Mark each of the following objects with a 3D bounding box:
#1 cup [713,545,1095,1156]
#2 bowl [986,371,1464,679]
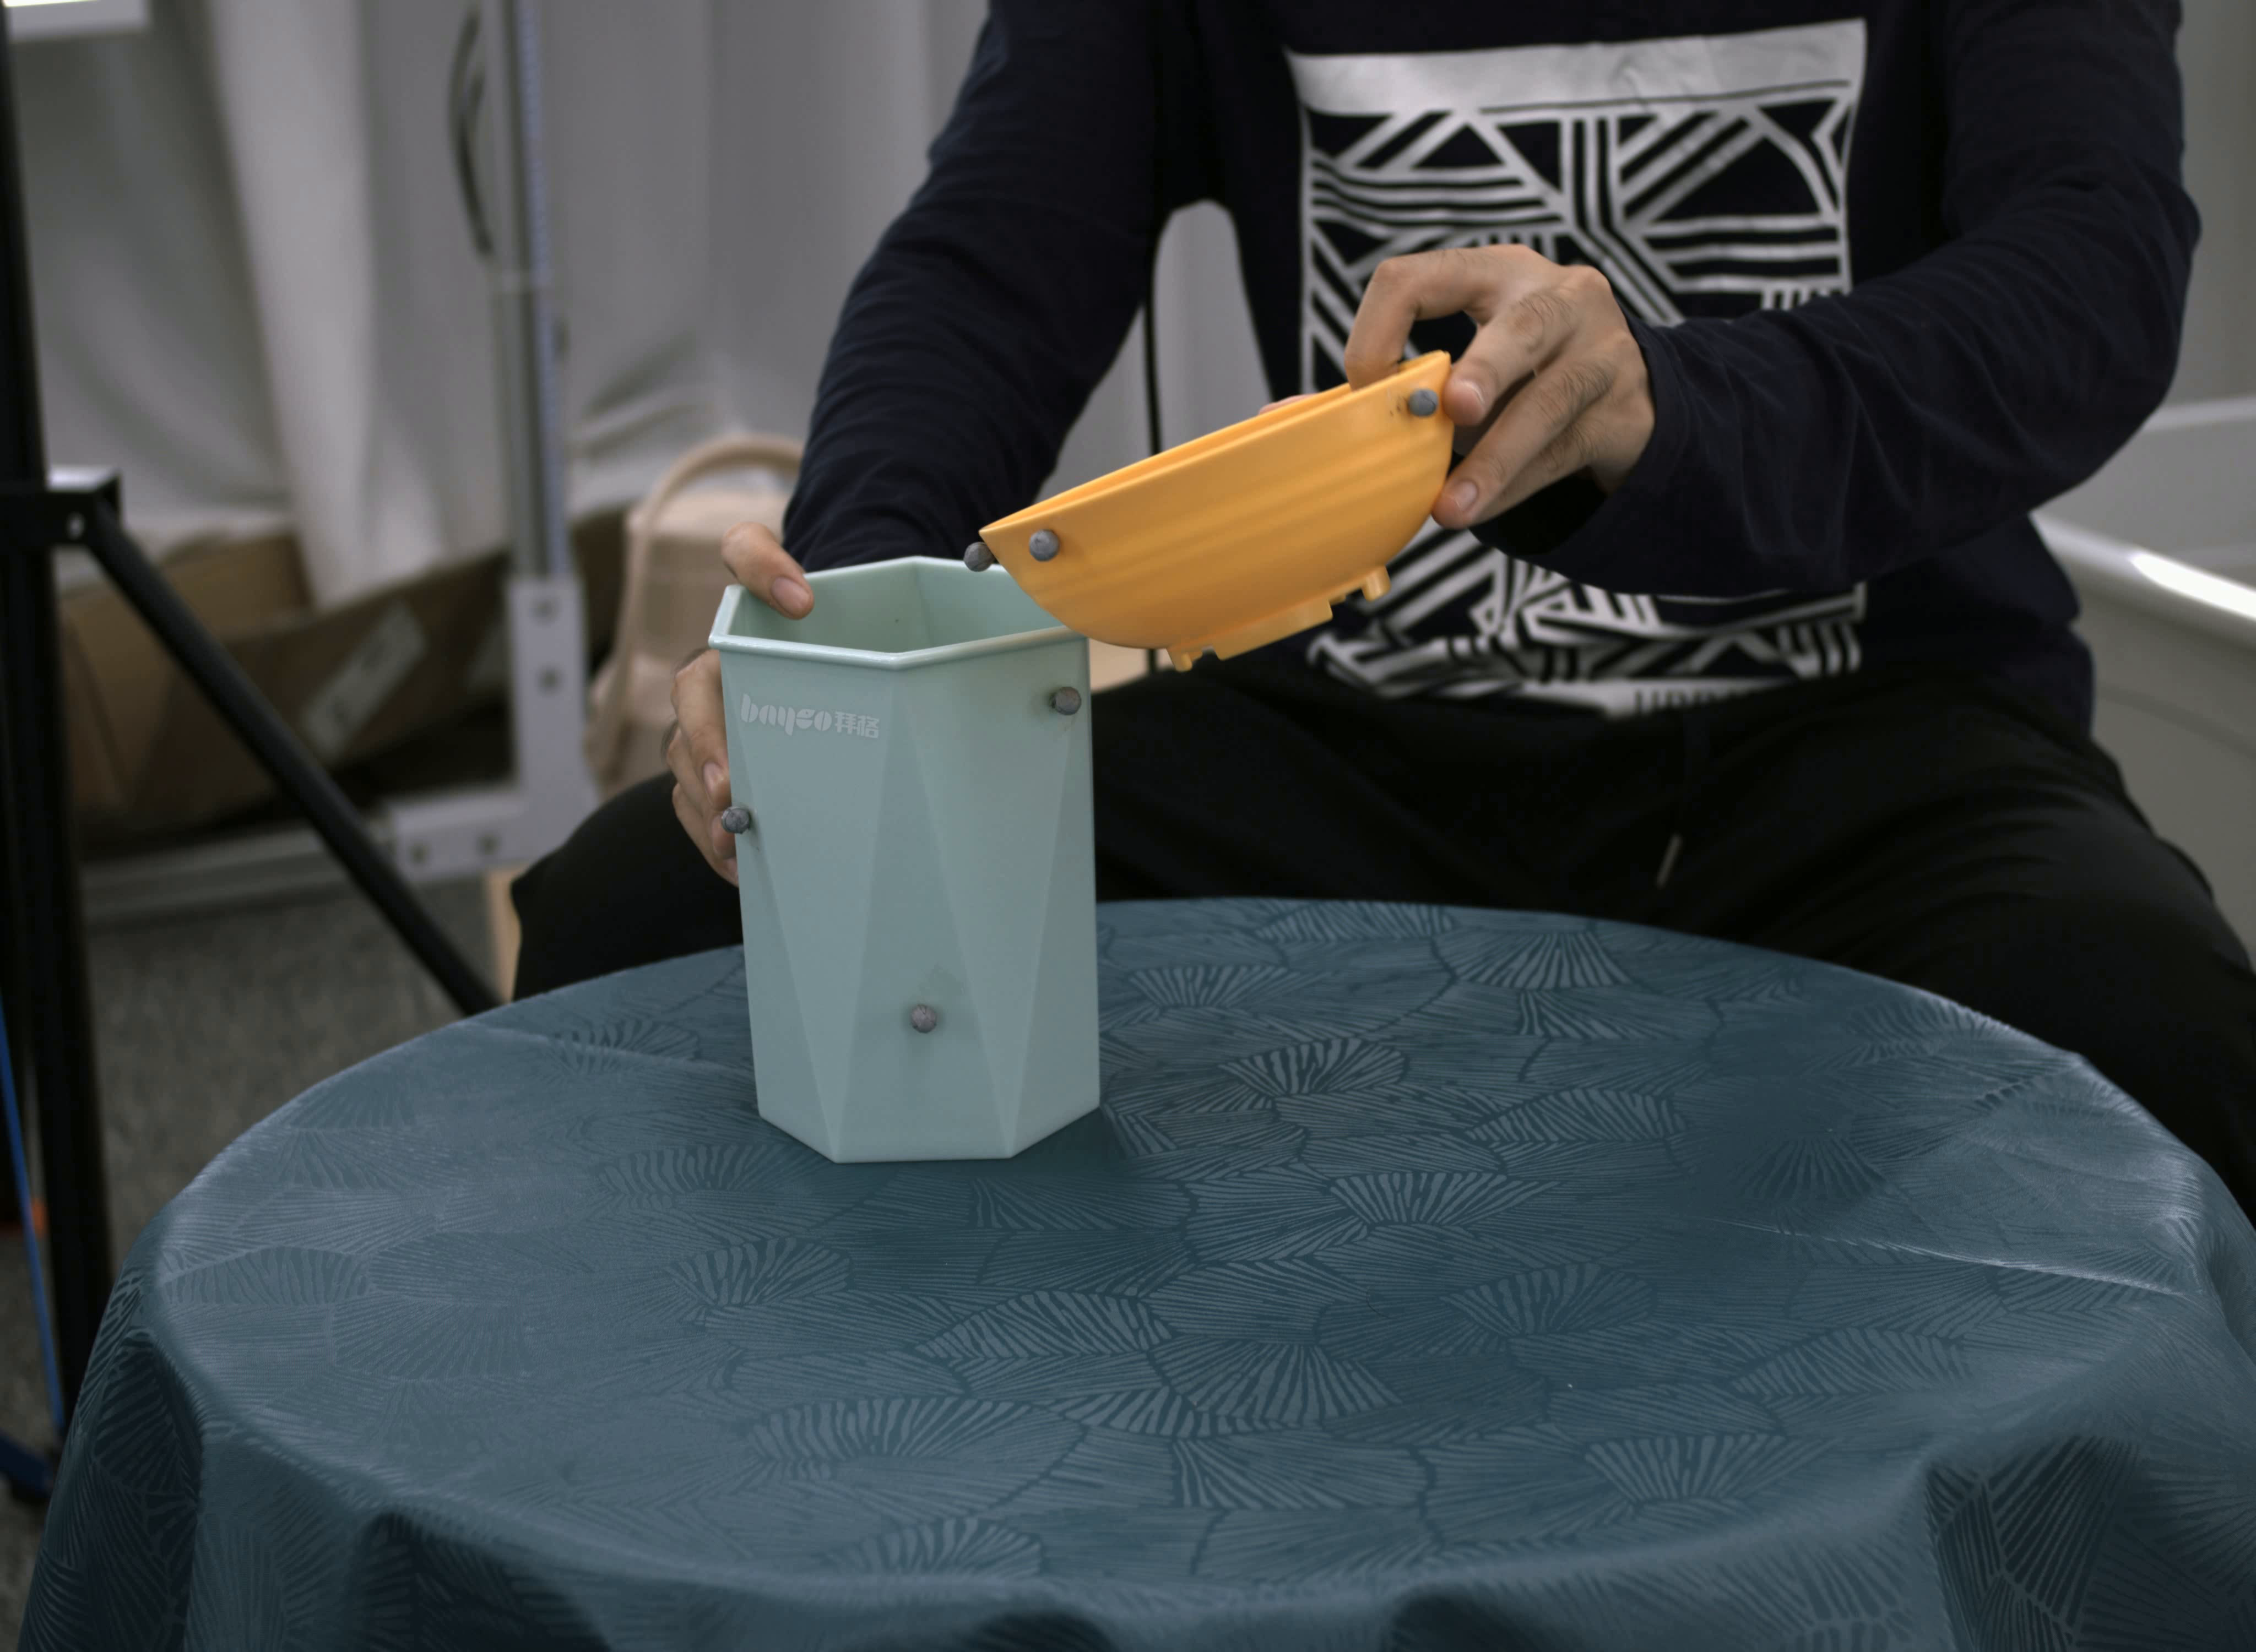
[{"bbox_3d":[-0.063,0.009,1.617,0.133,0.163,0.113,7,18,30],"label":"cup"},{"bbox_3d":[0.036,-0.080,1.526,0.145,0.060,0.145,-18,4,0],"label":"bowl"}]
